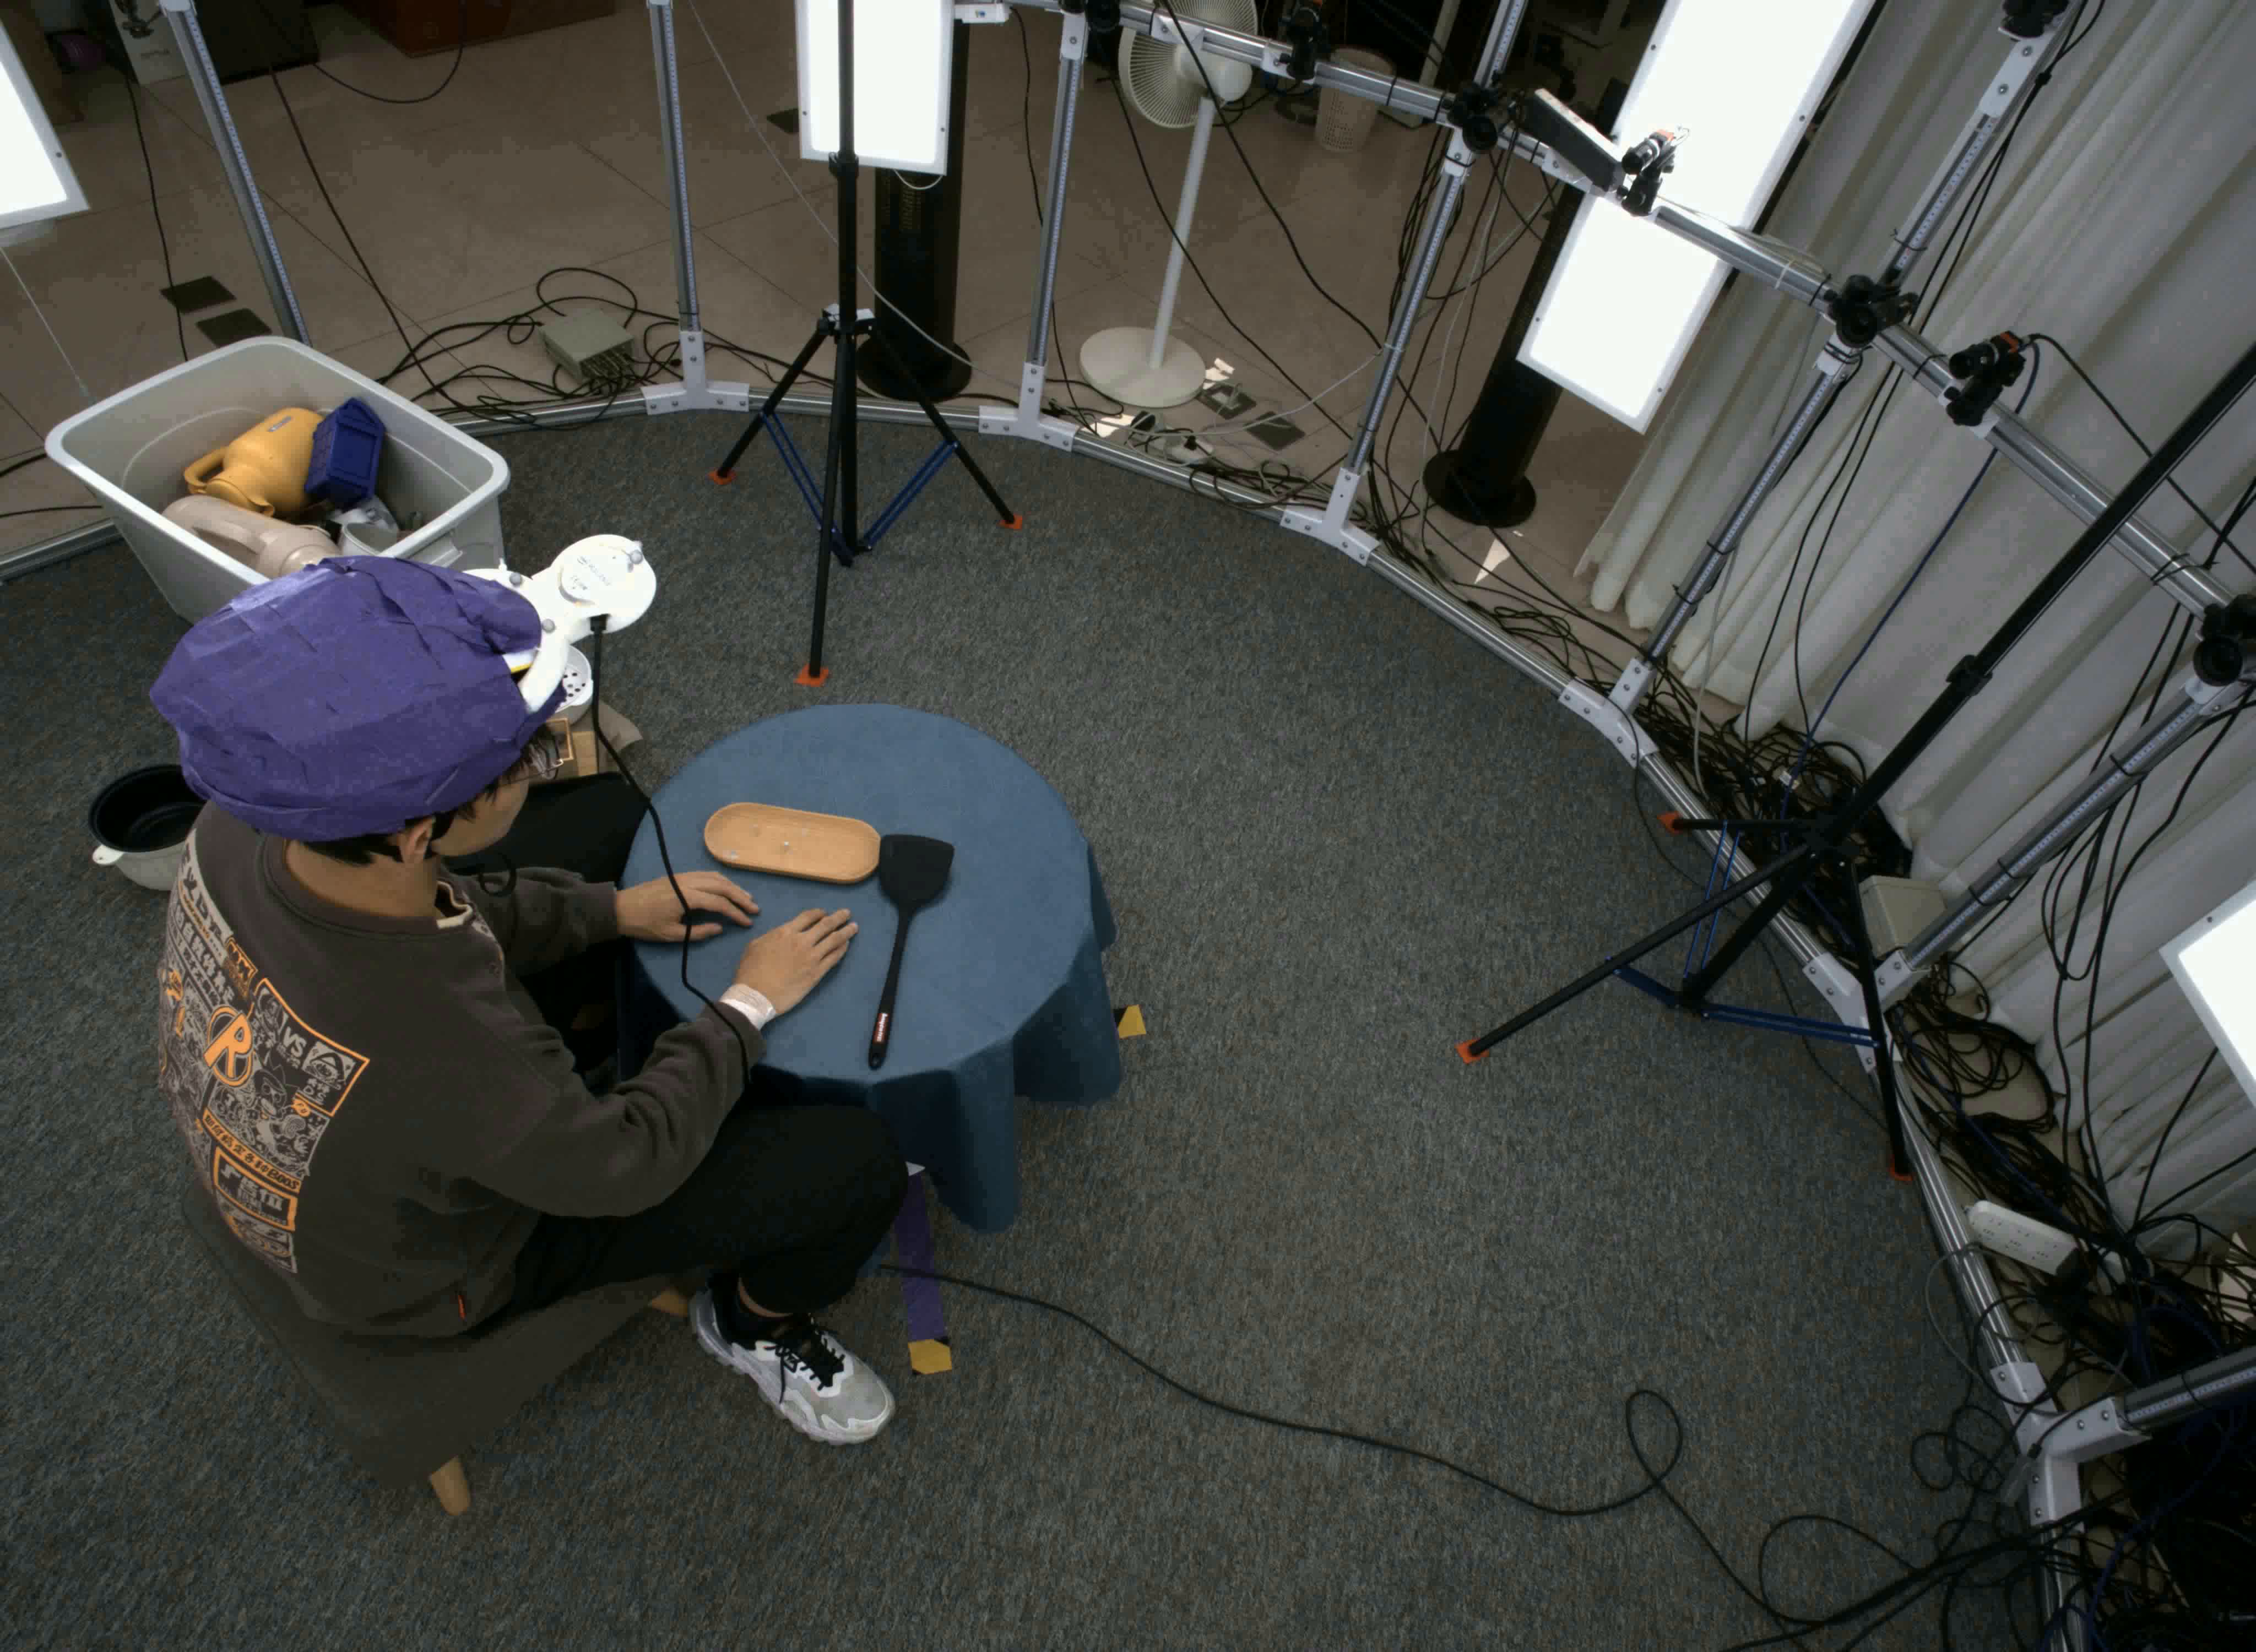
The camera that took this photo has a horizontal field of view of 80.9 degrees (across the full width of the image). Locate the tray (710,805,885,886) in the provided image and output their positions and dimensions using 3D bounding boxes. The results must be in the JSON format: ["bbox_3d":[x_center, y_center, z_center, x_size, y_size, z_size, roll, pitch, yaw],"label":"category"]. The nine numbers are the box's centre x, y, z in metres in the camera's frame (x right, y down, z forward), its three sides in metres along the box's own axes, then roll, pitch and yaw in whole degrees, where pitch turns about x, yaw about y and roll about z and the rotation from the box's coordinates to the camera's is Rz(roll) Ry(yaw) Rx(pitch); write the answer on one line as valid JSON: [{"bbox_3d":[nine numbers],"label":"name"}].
[{"bbox_3d":[-0.434,0.025,1.708,0.230,0.021,0.100,10,53,-8],"label":"tray"}]

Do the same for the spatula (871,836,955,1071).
[{"bbox_3d":[-0.288,0.153,1.636,0.099,0.041,0.321,8,53,-5],"label":"spatula"}]
